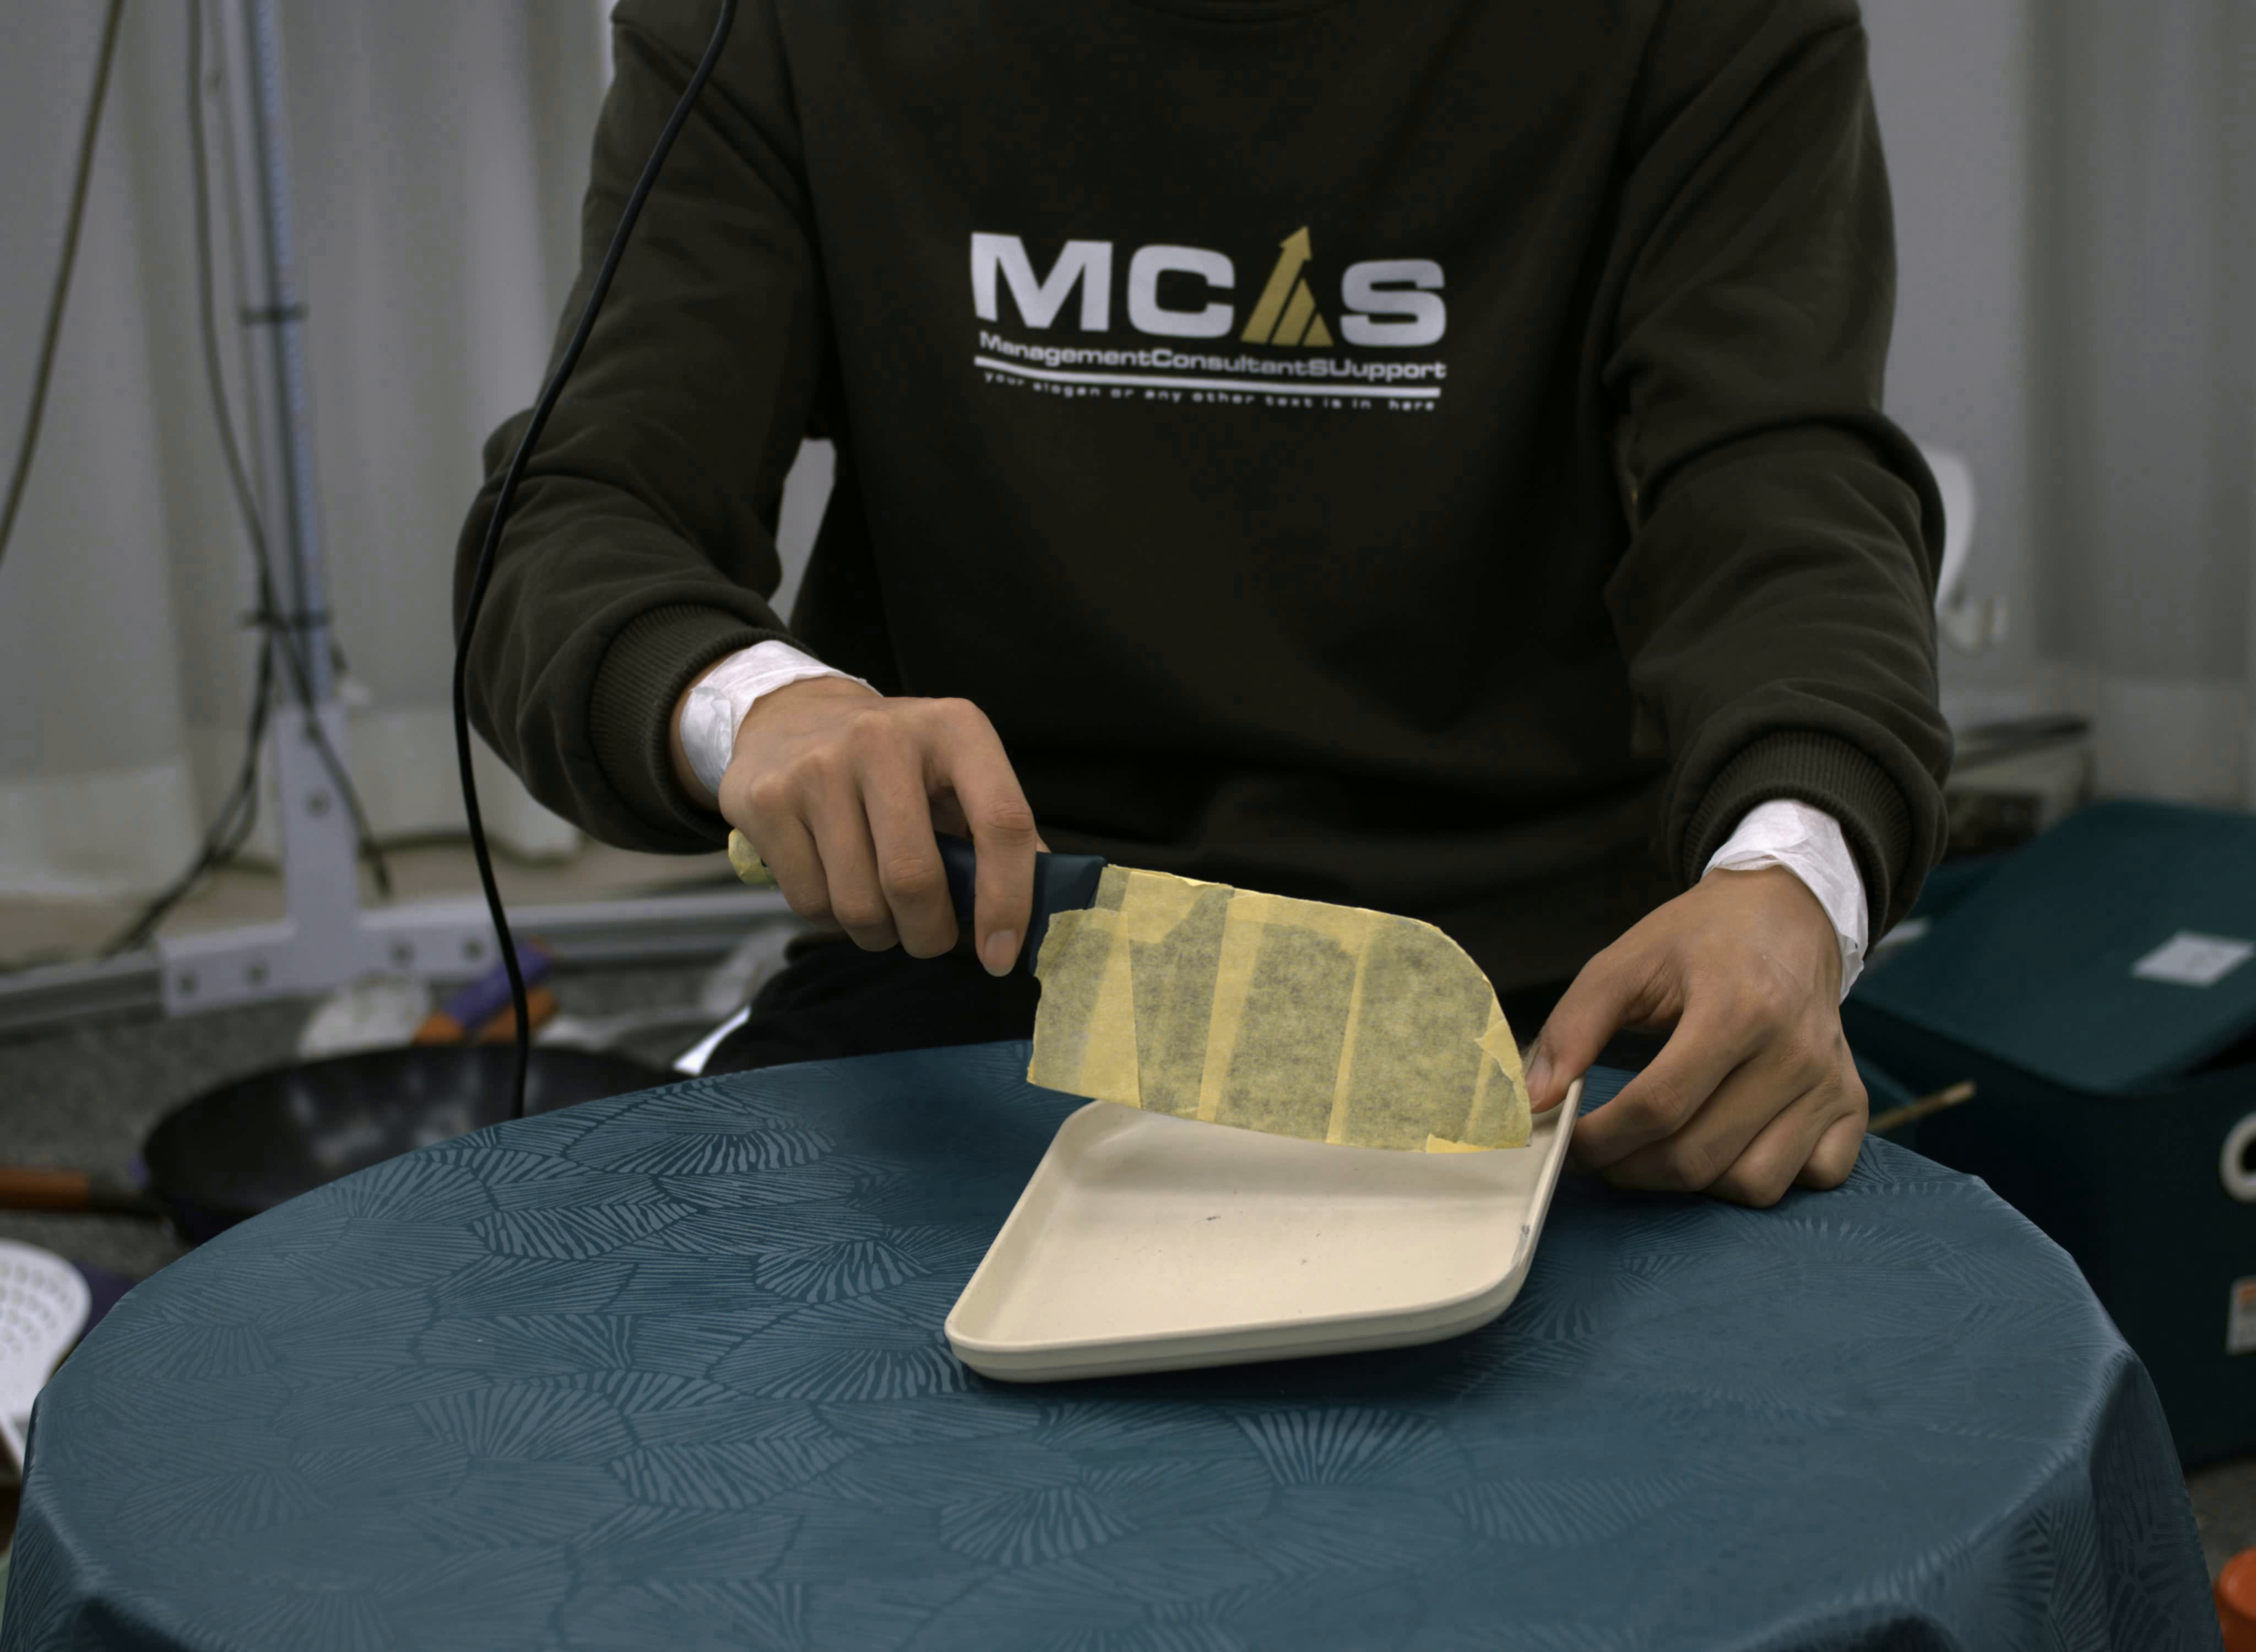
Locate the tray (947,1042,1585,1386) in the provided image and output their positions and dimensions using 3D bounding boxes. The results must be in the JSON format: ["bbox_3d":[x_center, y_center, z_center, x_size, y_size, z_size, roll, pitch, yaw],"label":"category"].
[{"bbox_3d":[0.046,0.115,1.637,0.171,0.017,0.241,-8,14,13],"label":"tray"}]

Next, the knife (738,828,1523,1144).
[{"bbox_3d":[-0.004,0.048,1.693,0.291,0.081,0.027,13,-3,31],"label":"knife"}]
